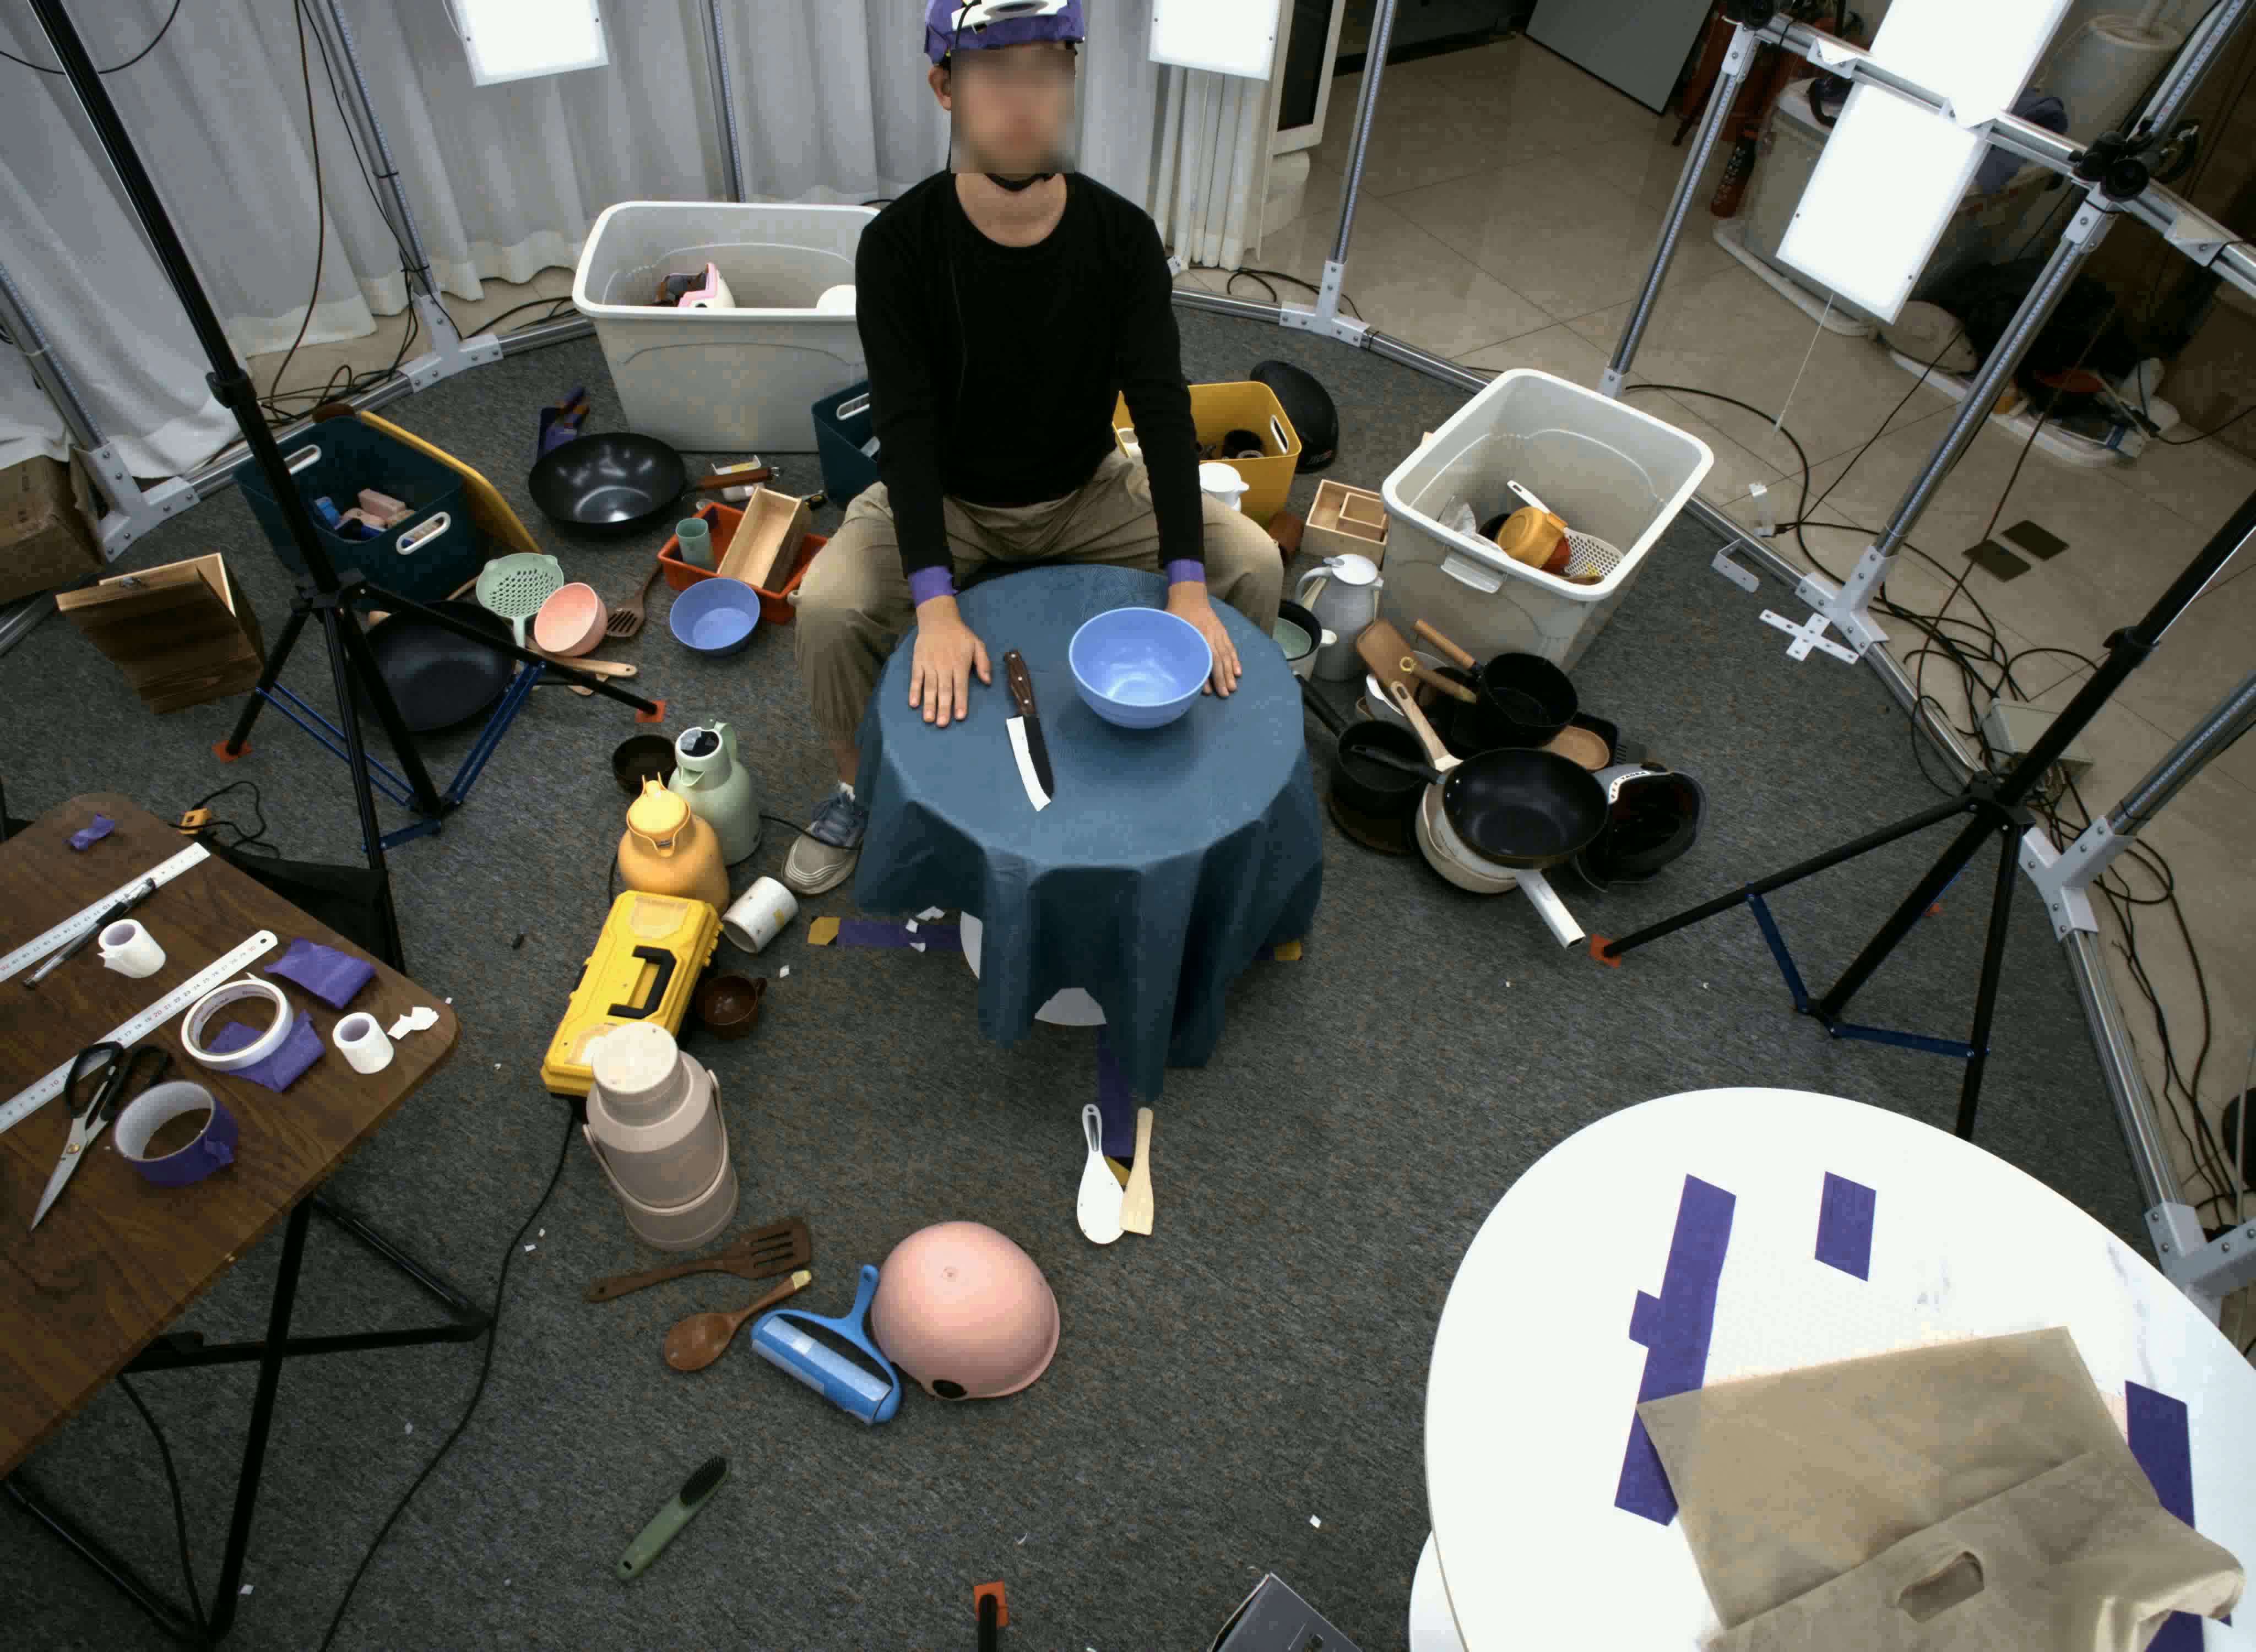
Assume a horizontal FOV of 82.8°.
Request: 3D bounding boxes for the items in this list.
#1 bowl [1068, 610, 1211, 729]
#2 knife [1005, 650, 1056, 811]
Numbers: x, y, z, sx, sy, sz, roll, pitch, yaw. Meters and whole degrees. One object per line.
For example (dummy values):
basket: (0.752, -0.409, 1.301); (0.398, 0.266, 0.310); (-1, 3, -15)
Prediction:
bowl: (0.015, -0.203, 1.788); (0.196, 0.093, 0.201); (1, 48, -1)
knife: (-0.139, -0.134, 1.768); (0.050, 0.019, 0.296); (-9, 53, -5)
